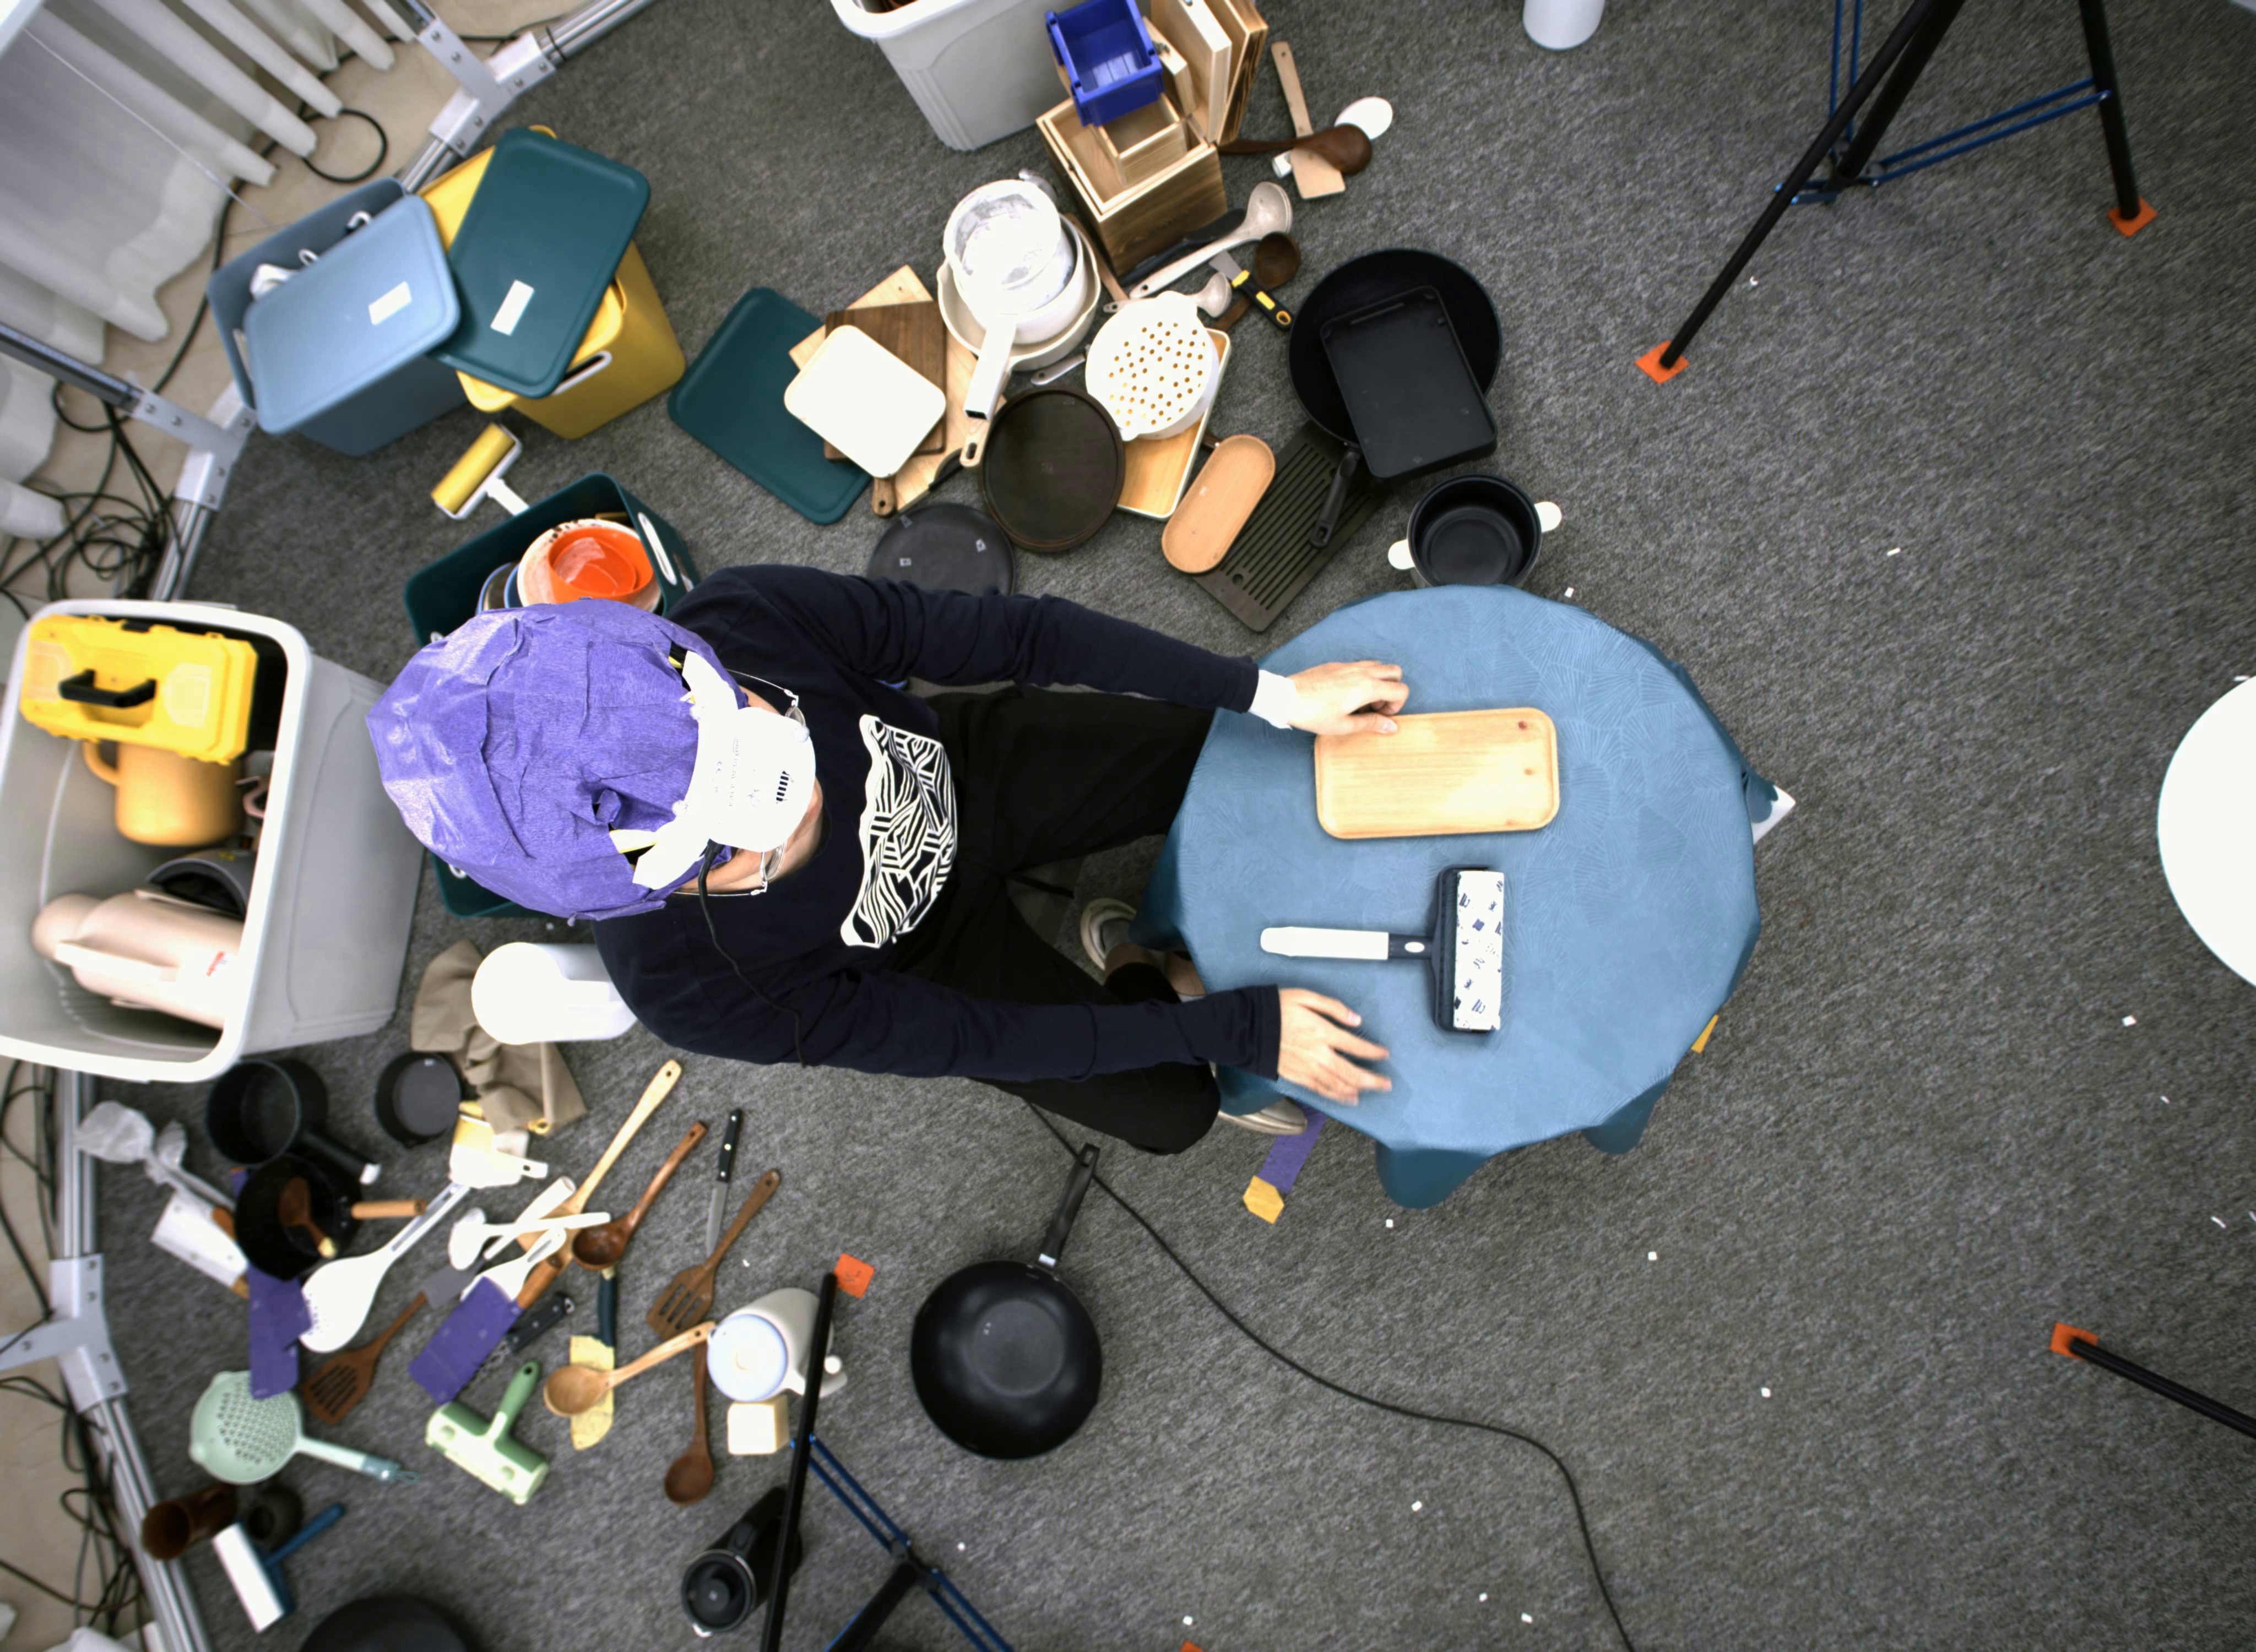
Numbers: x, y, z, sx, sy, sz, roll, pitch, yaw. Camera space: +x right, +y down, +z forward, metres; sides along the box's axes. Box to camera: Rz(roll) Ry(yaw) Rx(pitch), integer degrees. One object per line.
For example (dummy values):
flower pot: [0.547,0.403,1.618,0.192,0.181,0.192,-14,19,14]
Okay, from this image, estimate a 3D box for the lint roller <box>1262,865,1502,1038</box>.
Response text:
lint roller: [0.261,0.125,1.439,0.248,0.050,0.175,1,88,14]

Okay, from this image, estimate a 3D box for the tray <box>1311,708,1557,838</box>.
tray: [0.320,-0.056,1.444,0.252,0.023,0.130,-2,89,12]
